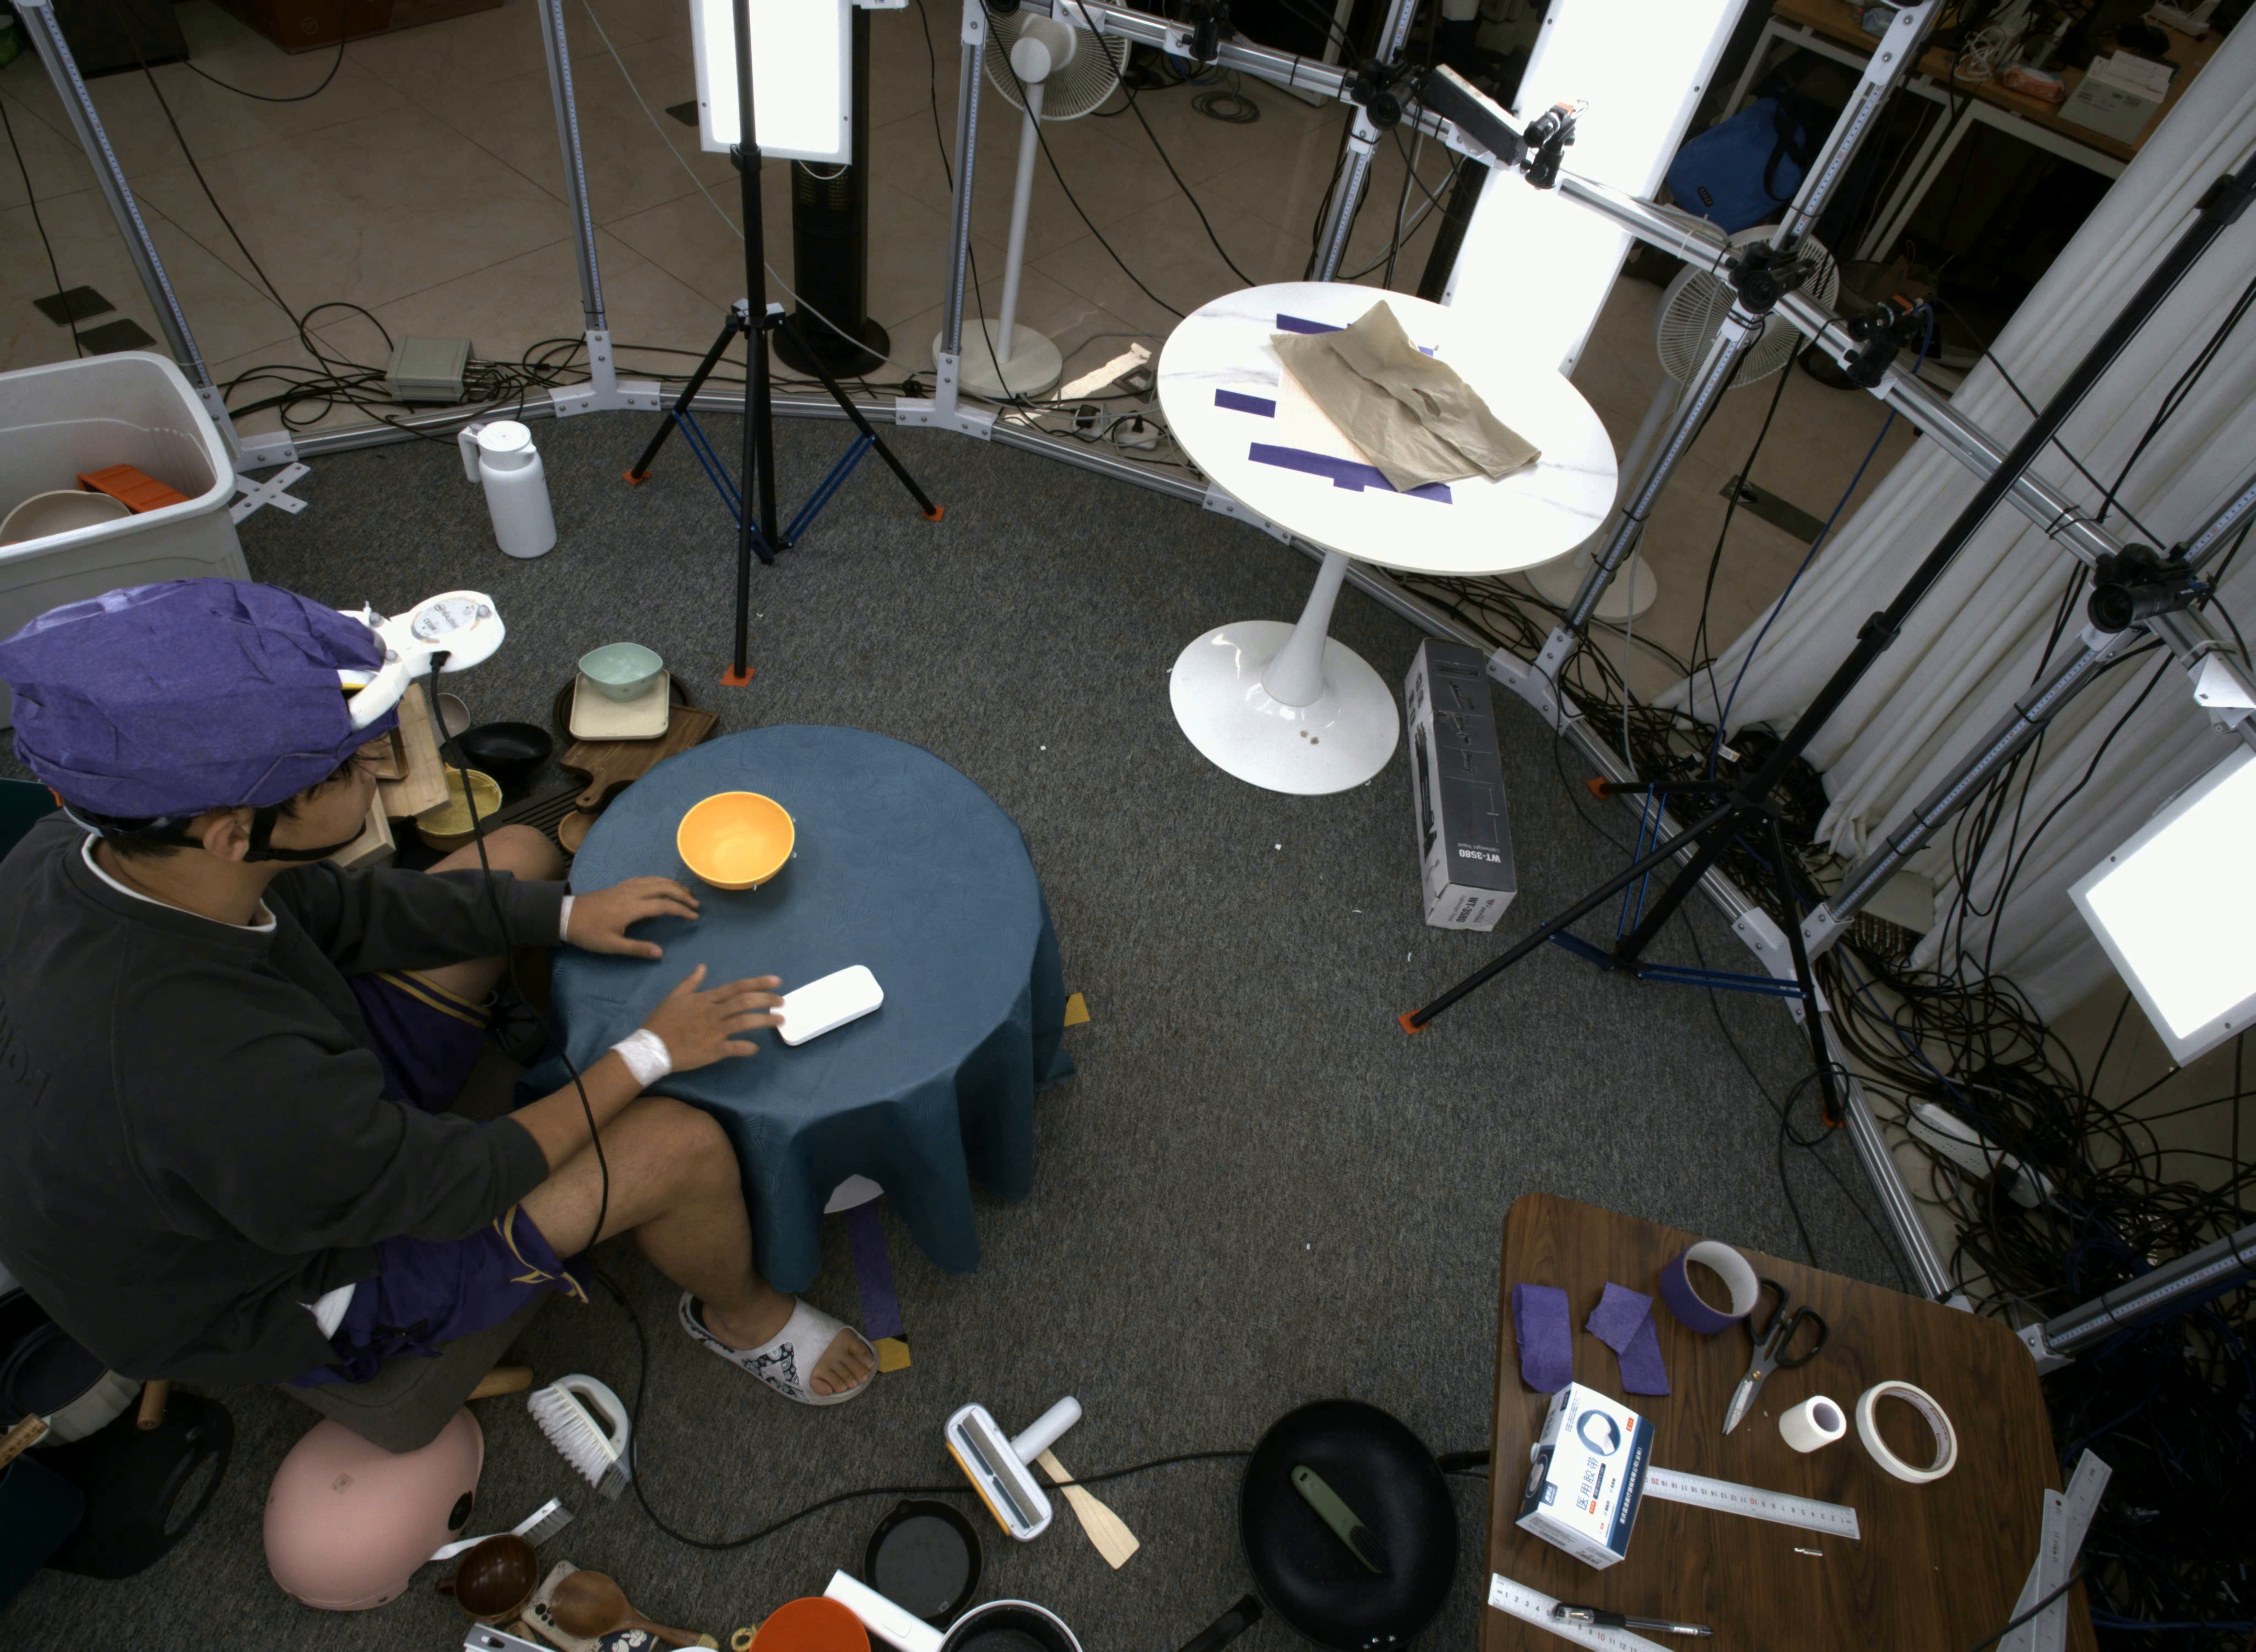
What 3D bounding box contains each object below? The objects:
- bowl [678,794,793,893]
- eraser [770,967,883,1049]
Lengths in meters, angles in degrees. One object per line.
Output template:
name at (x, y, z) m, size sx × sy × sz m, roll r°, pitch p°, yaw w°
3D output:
bowl at (-0.498, 0.032, 1.651) m, size 0.145 × 0.061 × 0.143 m, roll 6°, pitch 53°, yaw -7°
eraser at (-0.363, 0.214, 1.564) m, size 0.132 × 0.035 × 0.062 m, roll -23°, pitch 61°, yaw -29°
